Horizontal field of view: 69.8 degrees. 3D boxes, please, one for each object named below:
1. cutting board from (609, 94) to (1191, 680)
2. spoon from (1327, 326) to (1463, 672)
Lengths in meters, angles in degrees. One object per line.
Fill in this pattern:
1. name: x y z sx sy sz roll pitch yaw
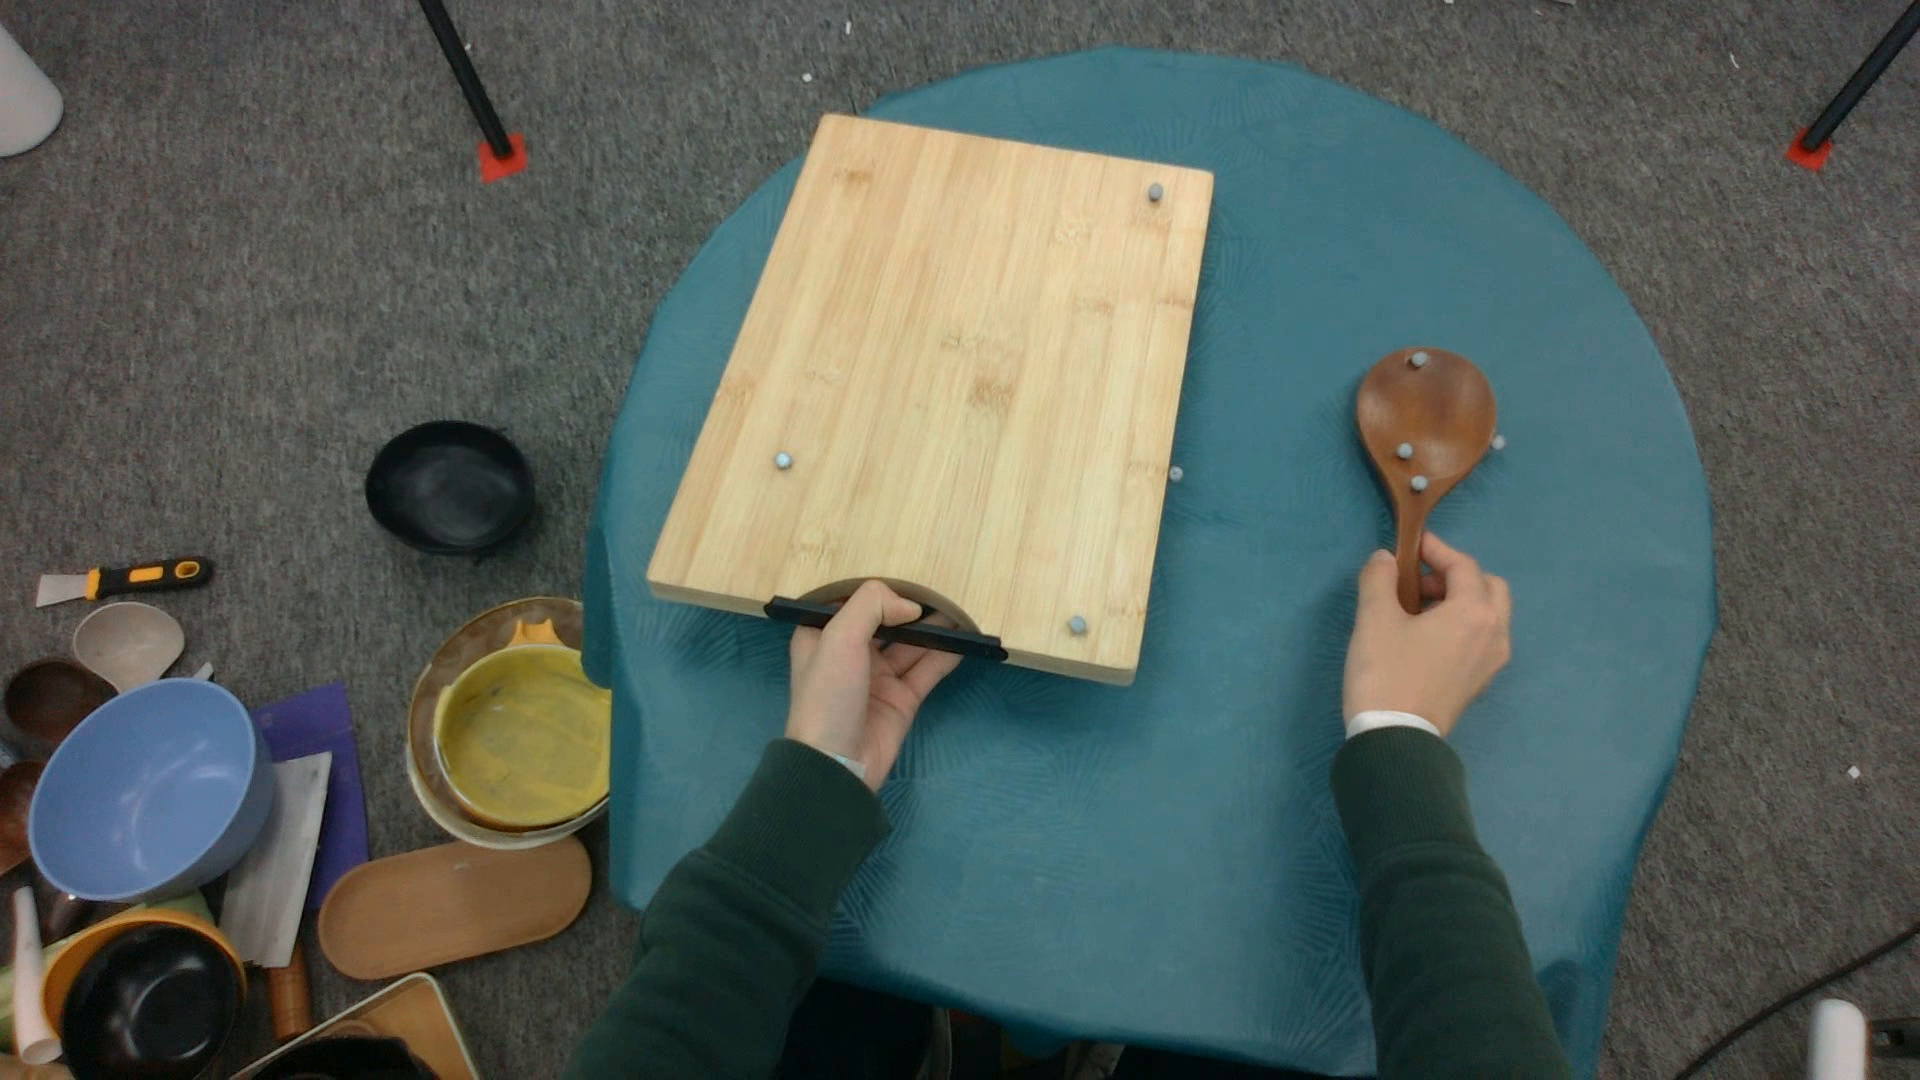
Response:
1. cutting board: -0.015 -0.101 0.742 0.250 0.023 0.350 9 58 4
2. spoon: 0.223 -0.027 0.727 0.075 0.017 0.217 14 60 4
